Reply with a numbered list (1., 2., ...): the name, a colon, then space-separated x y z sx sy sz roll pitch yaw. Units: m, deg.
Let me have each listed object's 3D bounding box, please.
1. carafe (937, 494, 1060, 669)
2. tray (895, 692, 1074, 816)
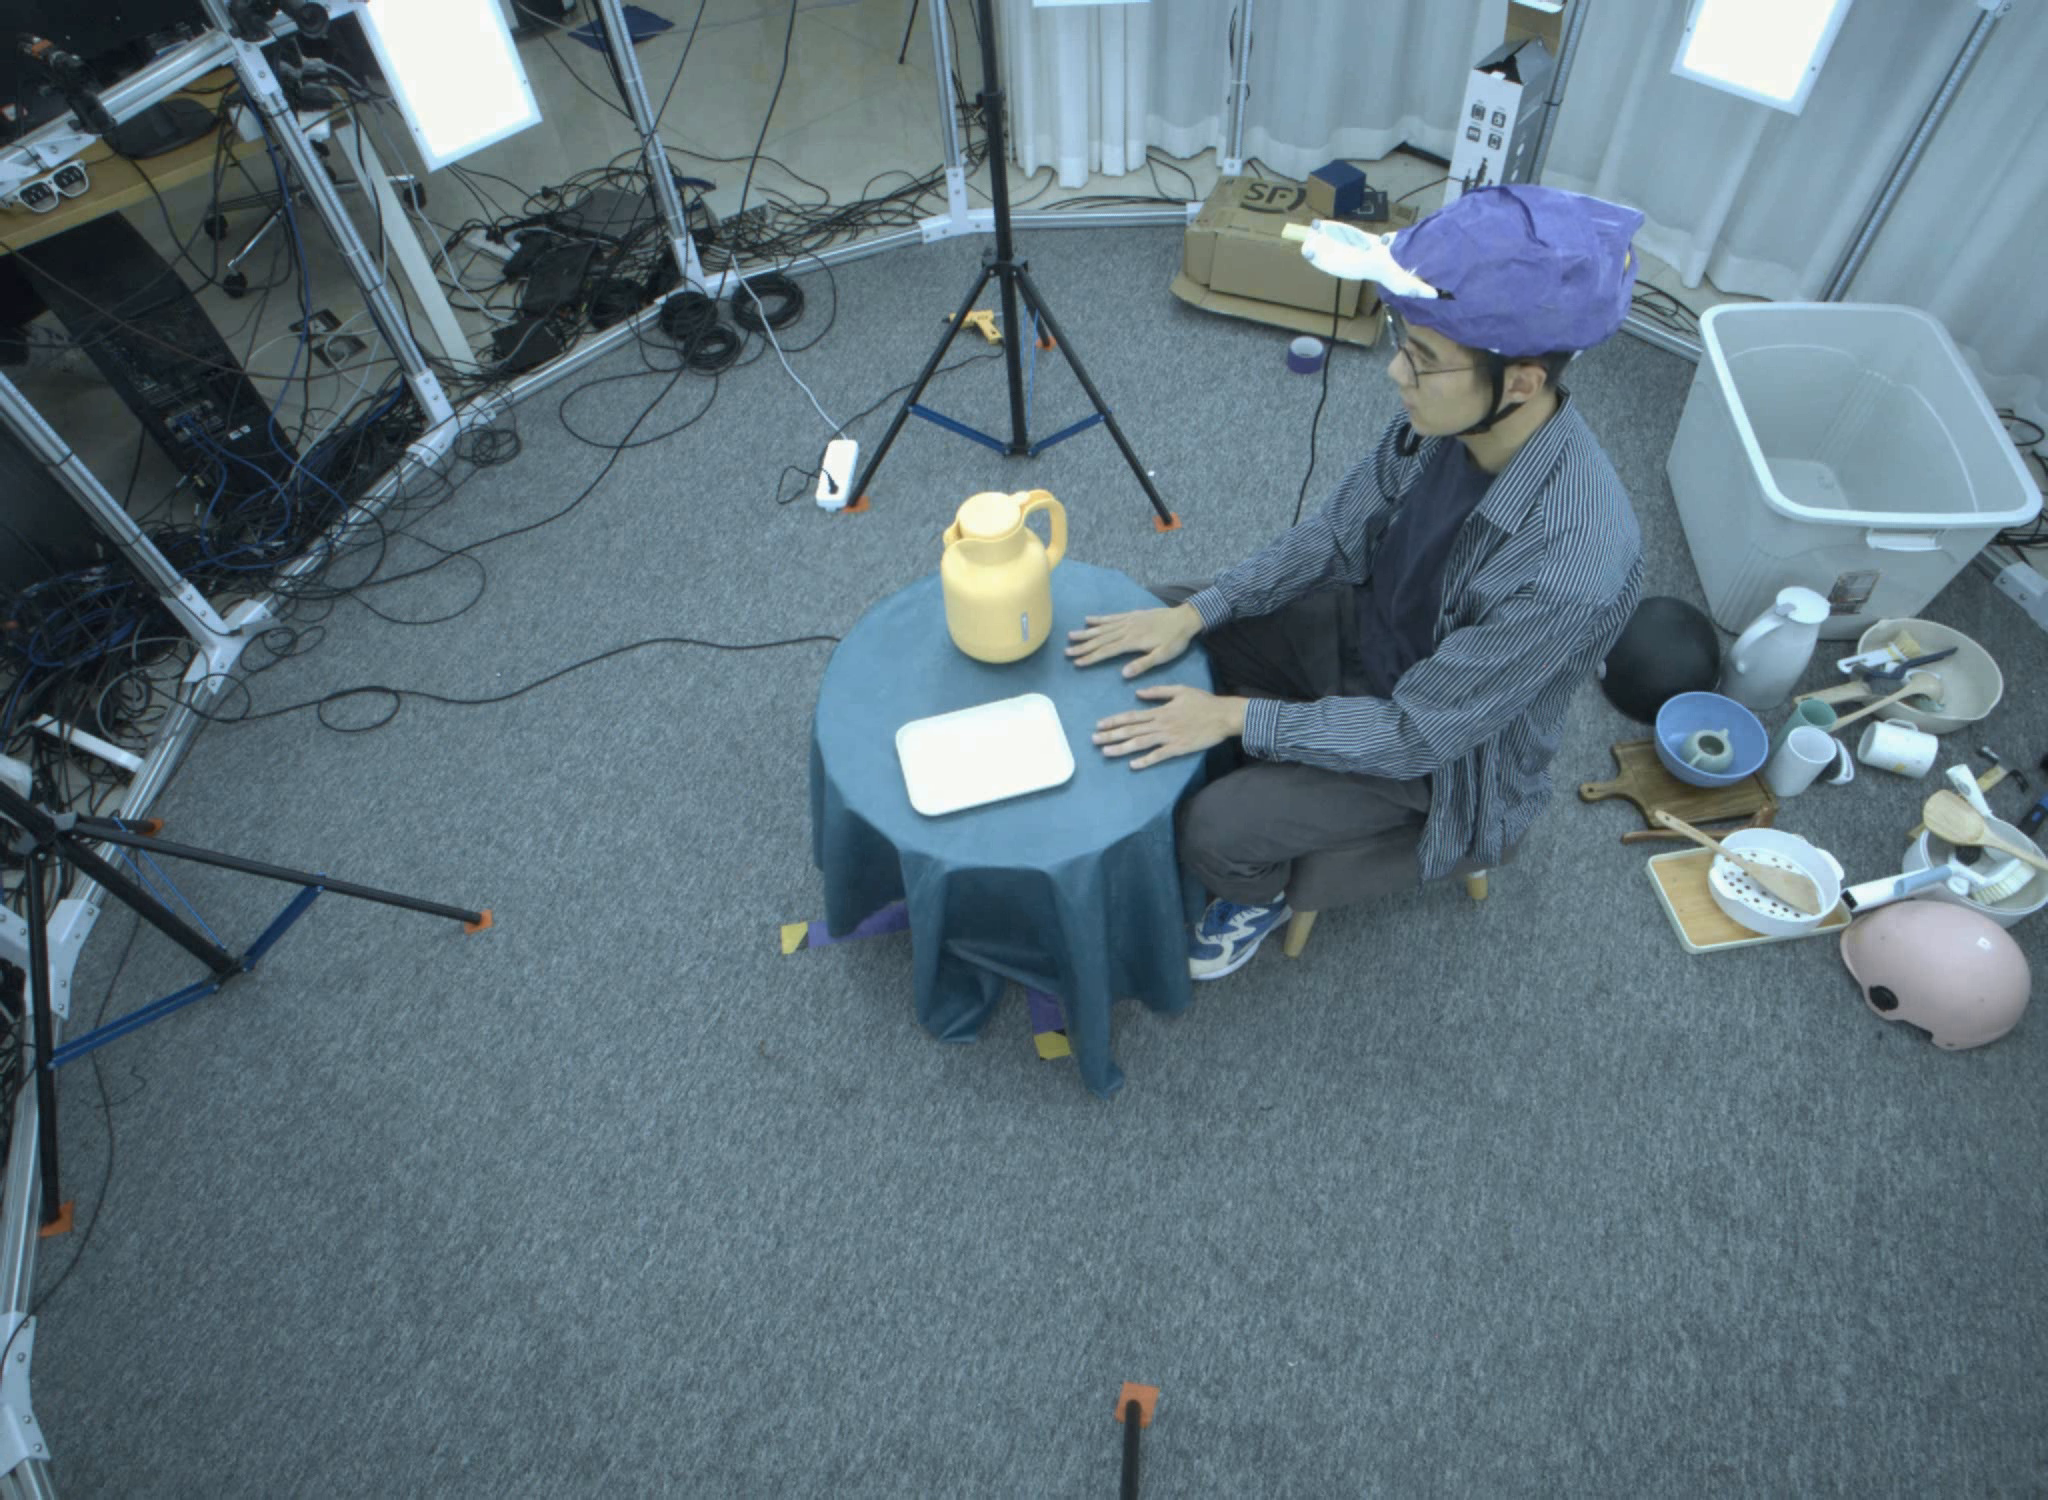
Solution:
1. carafe: -0.031 -0.260 1.817 0.204 0.263 0.160 -32 61 -19
2. tray: -0.059 0.006 1.779 0.241 0.017 0.168 -13 56 -8
